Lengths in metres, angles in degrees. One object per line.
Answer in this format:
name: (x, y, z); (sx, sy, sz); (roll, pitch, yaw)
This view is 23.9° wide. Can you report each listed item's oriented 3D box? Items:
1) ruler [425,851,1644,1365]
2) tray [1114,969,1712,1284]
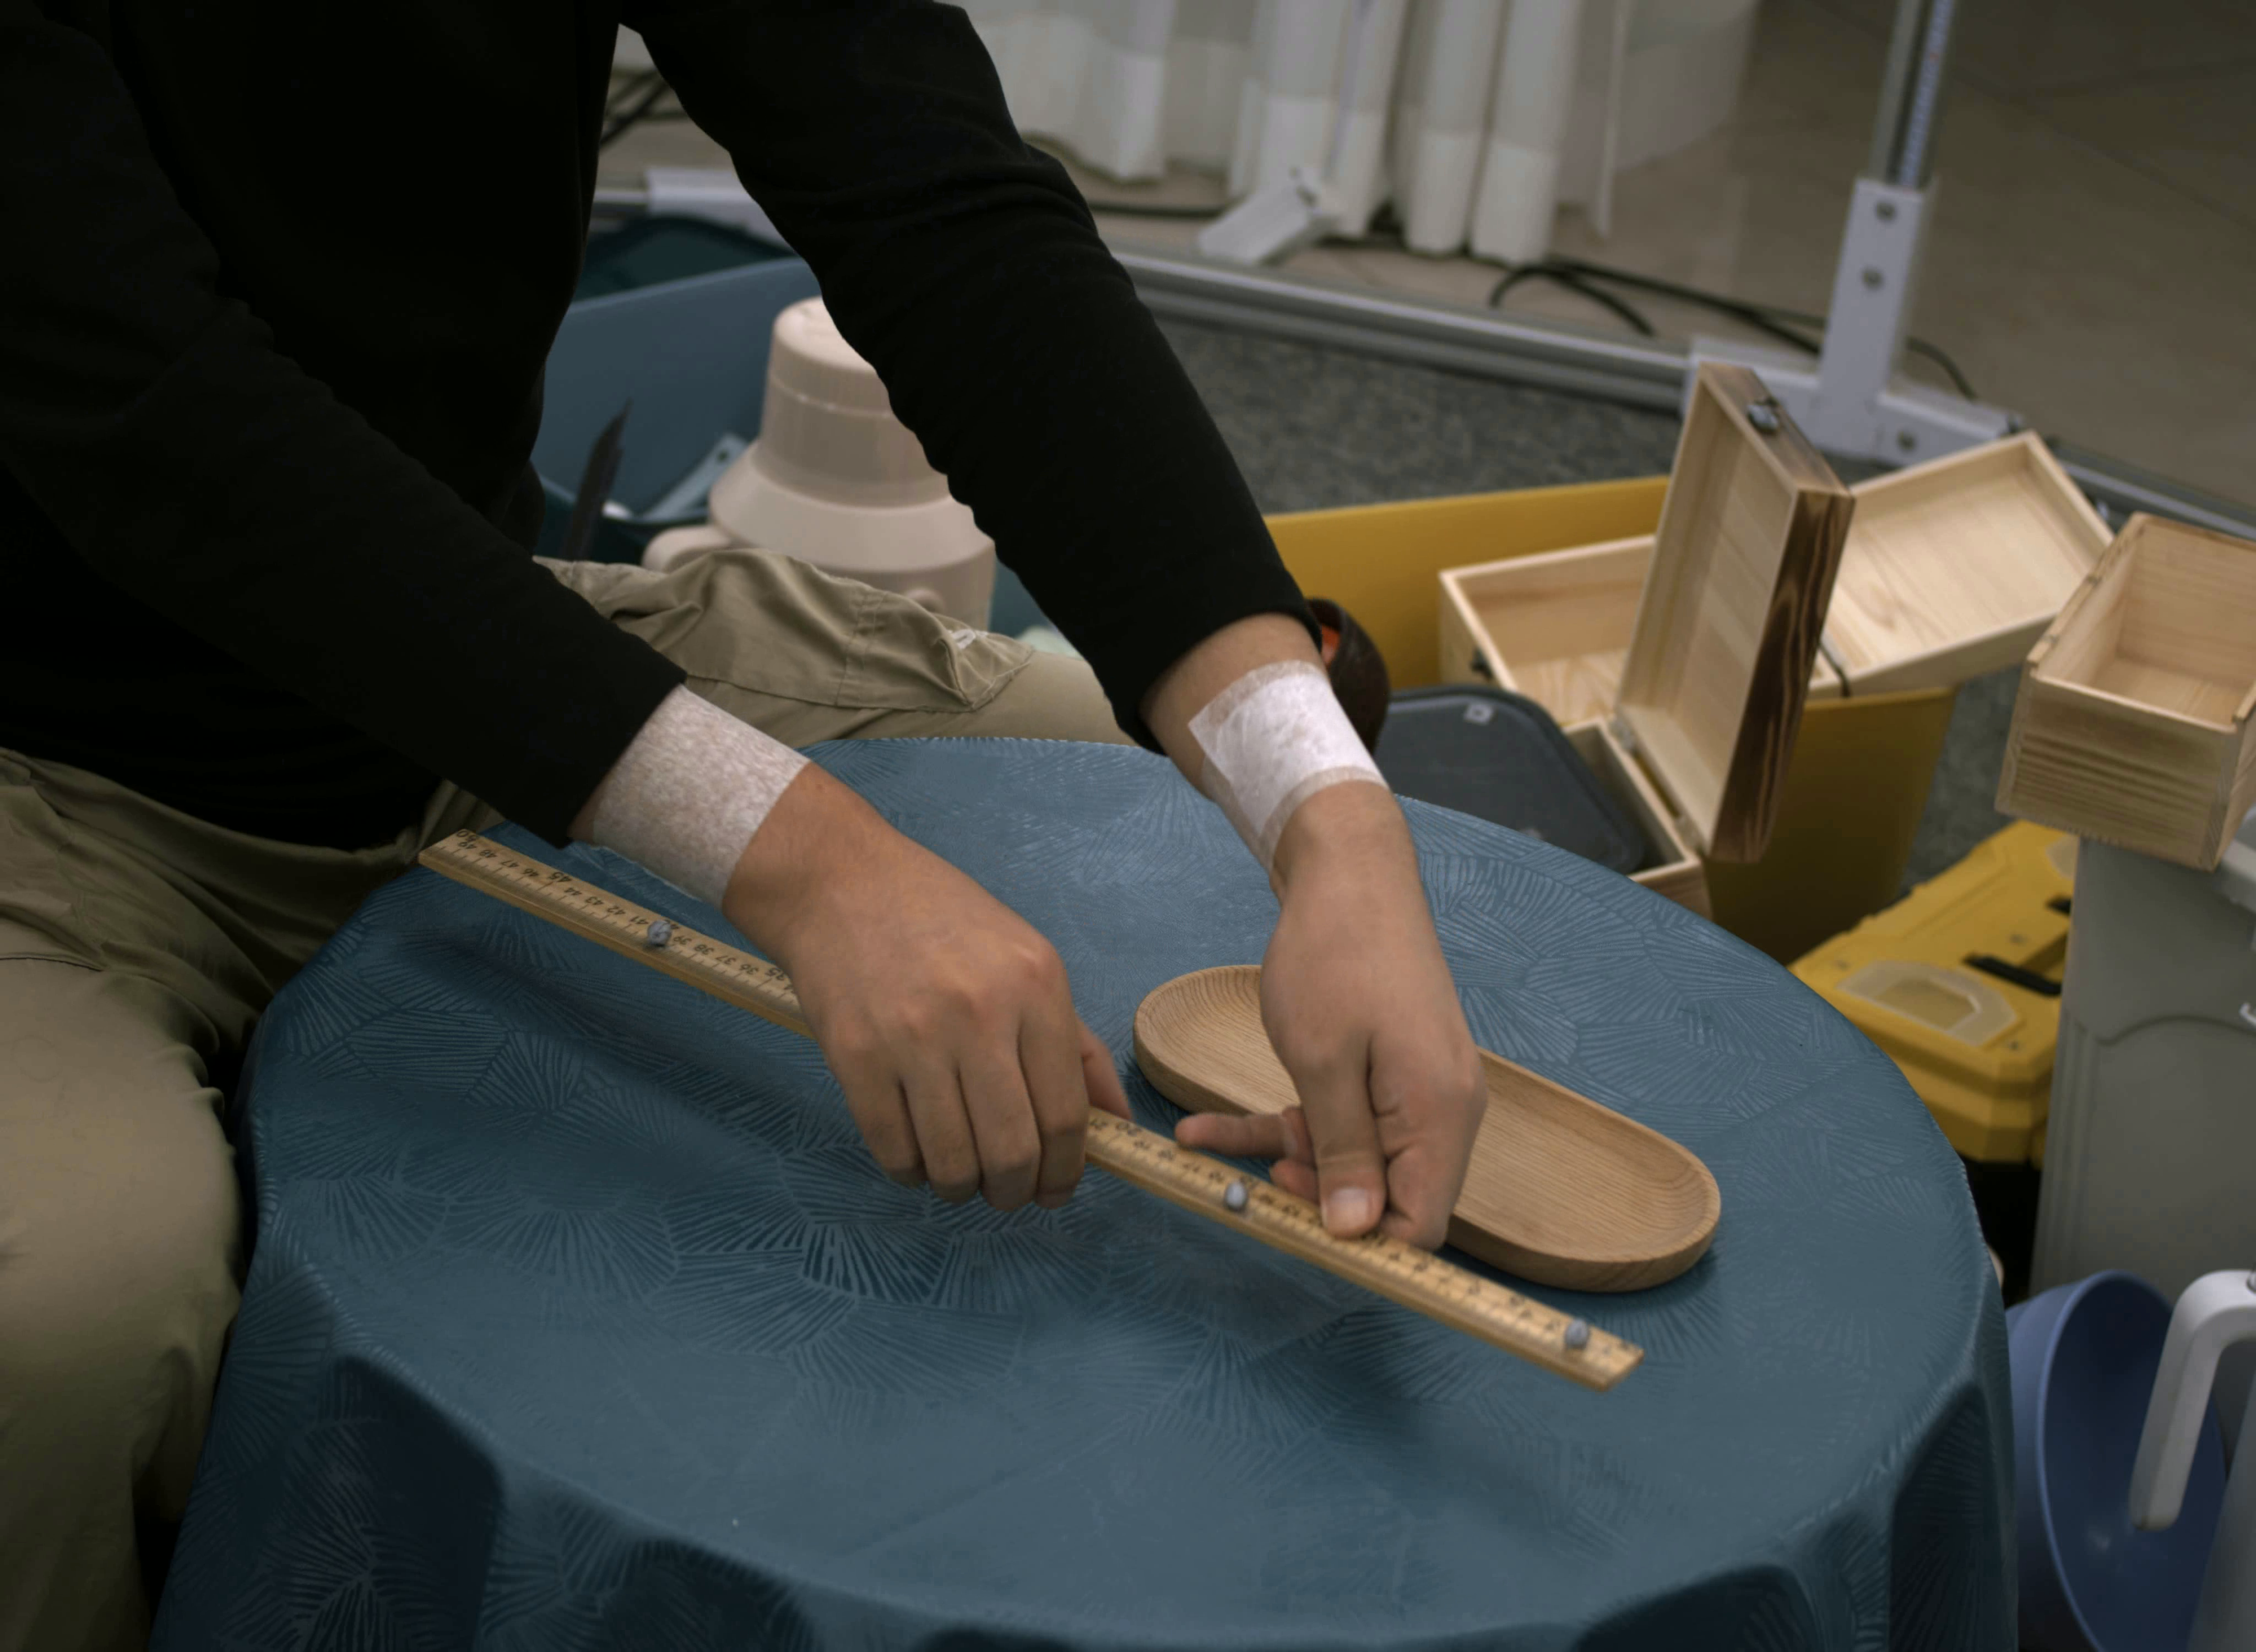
ruler: (-0.045, 0.087, 1.777); (0.503, 0.006, 0.026); (20, 26, 32)
tray: (0.097, 0.103, 1.846); (0.232, 0.020, 0.101); (22, 29, 32)
